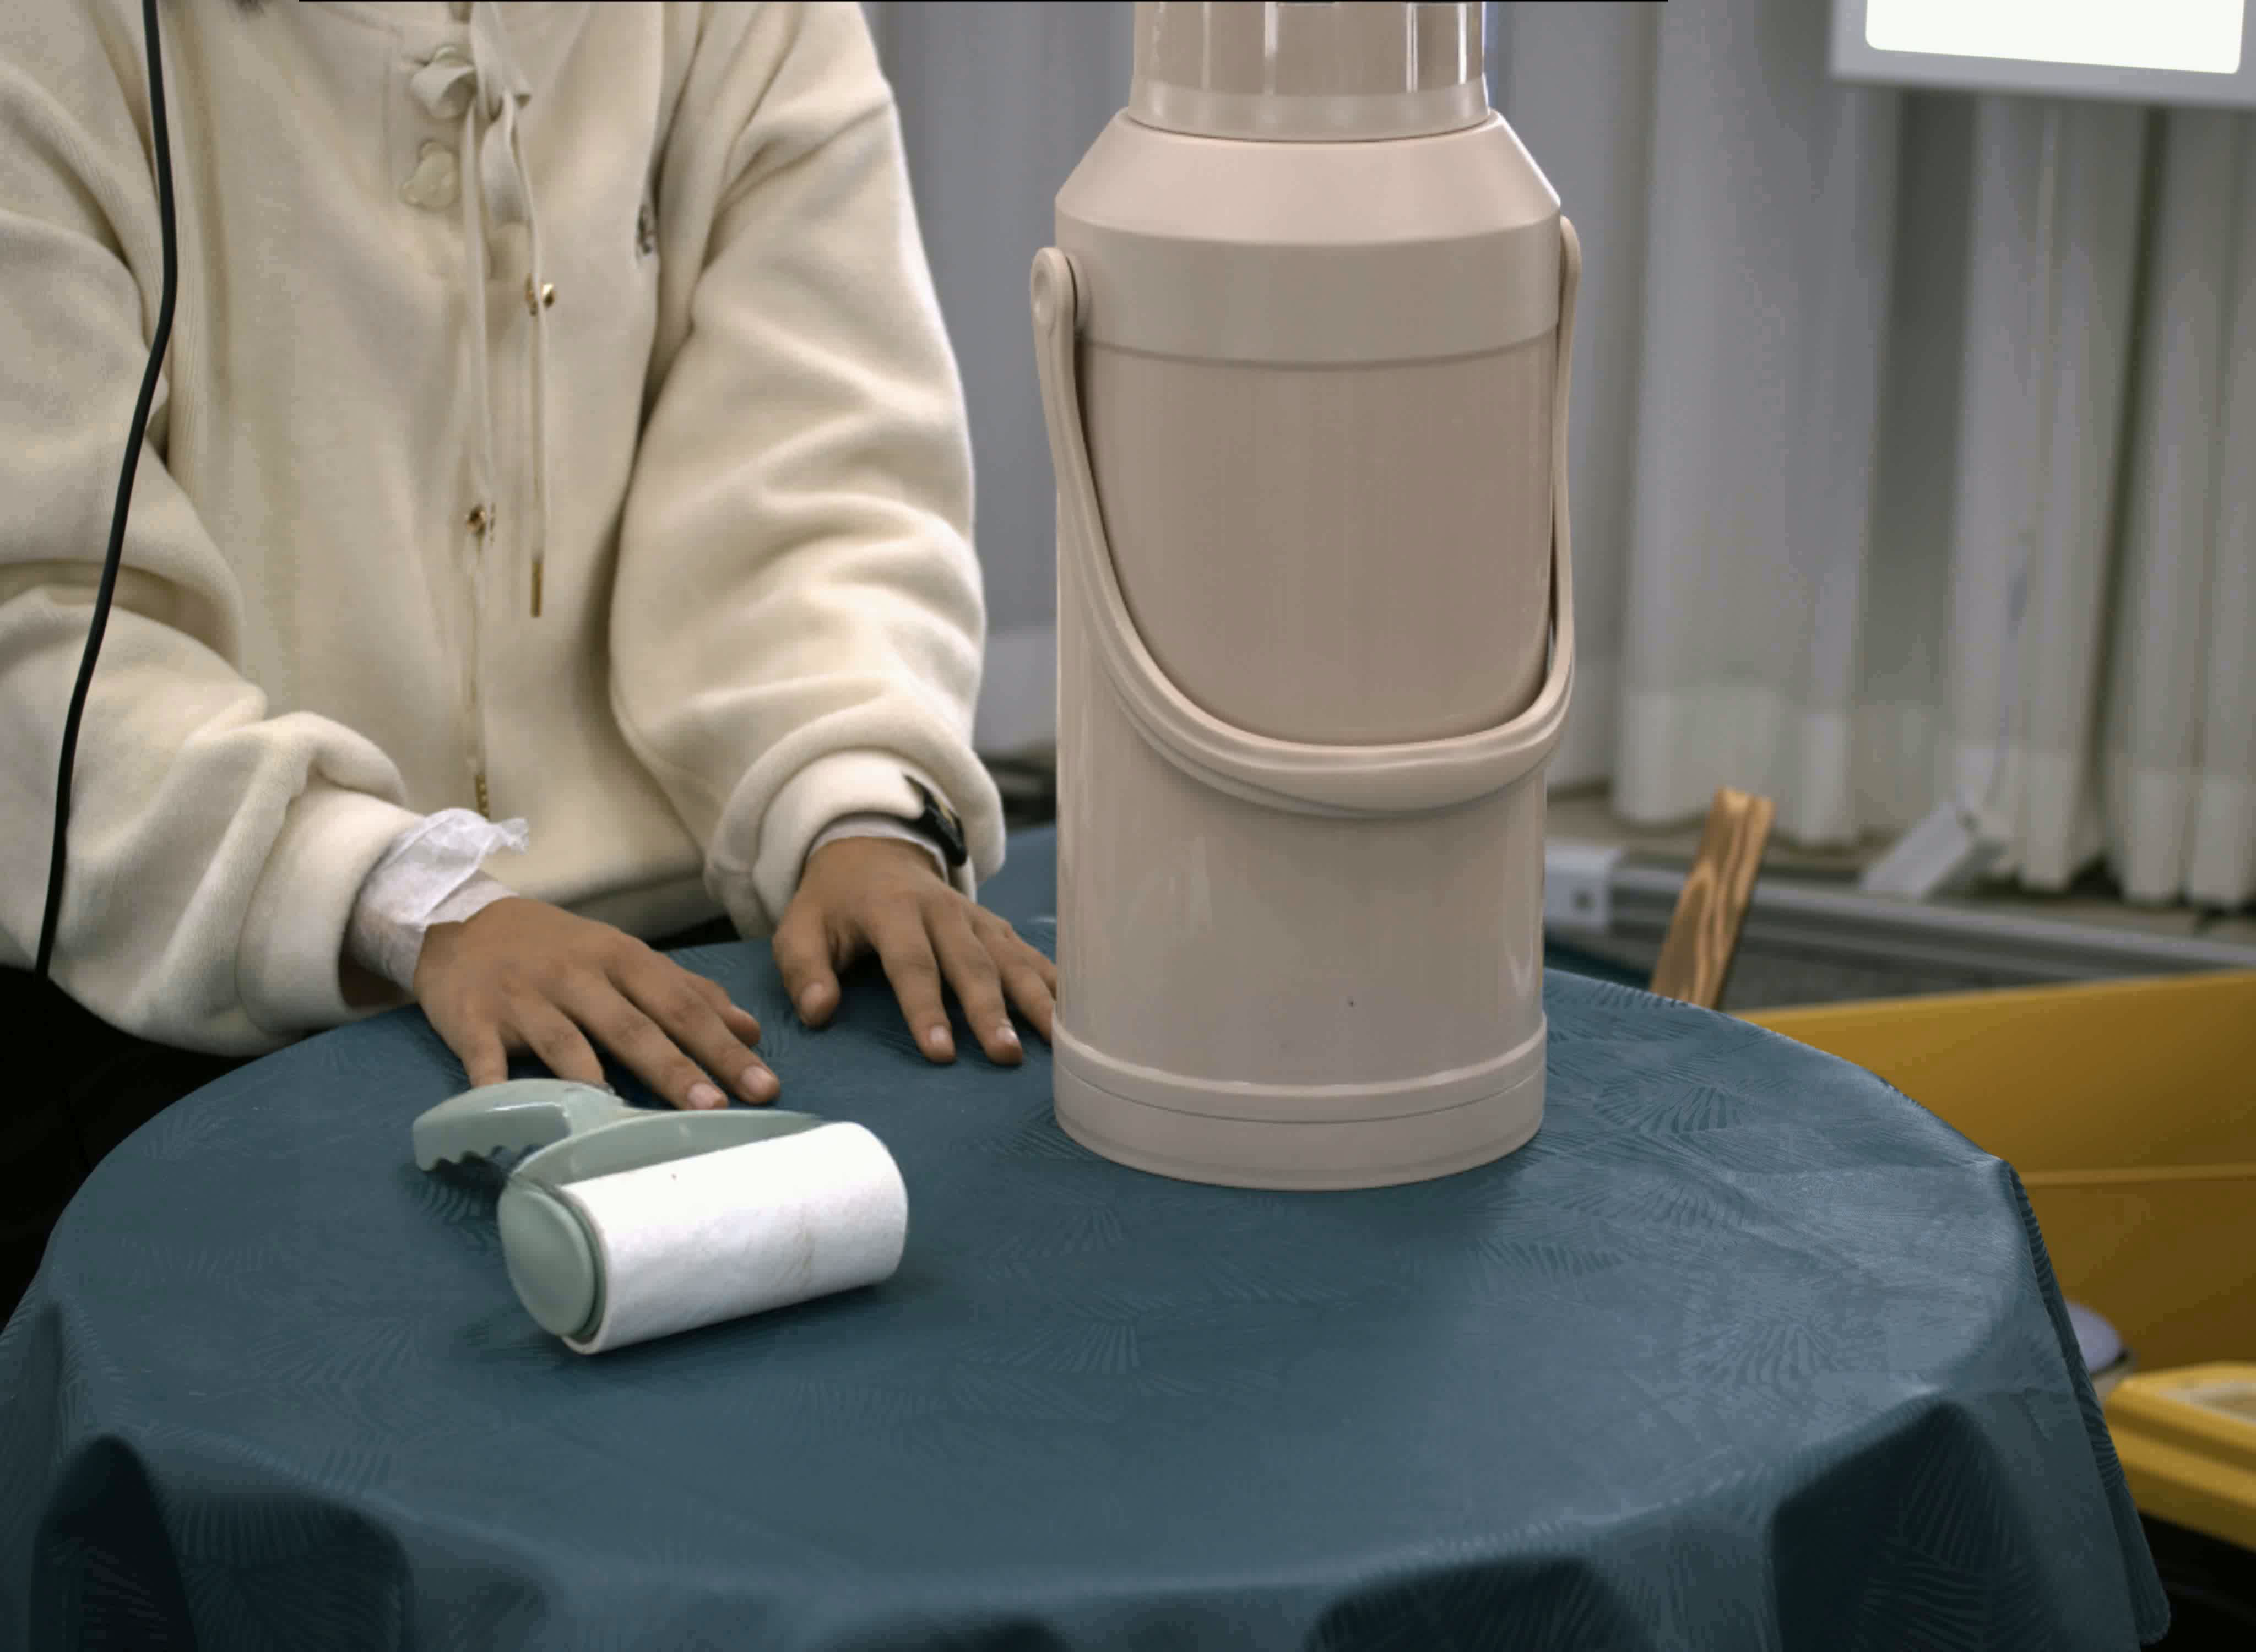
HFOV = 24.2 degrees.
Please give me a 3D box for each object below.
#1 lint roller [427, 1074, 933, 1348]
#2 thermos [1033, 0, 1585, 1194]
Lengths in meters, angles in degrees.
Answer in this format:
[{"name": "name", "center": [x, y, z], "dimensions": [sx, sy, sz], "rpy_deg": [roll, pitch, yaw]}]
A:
[{"name": "lint roller", "center": [-0.153, 0.100, 1.570], "dimensions": [0.117, 0.049, 0.195], "rpy_deg": [-13, 21, -33]}, {"name": "thermos", "center": [0.052, -0.102, 1.652], "dimensions": [0.176, 0.410, 0.204], "rpy_deg": [-7, 17, -21]}]
